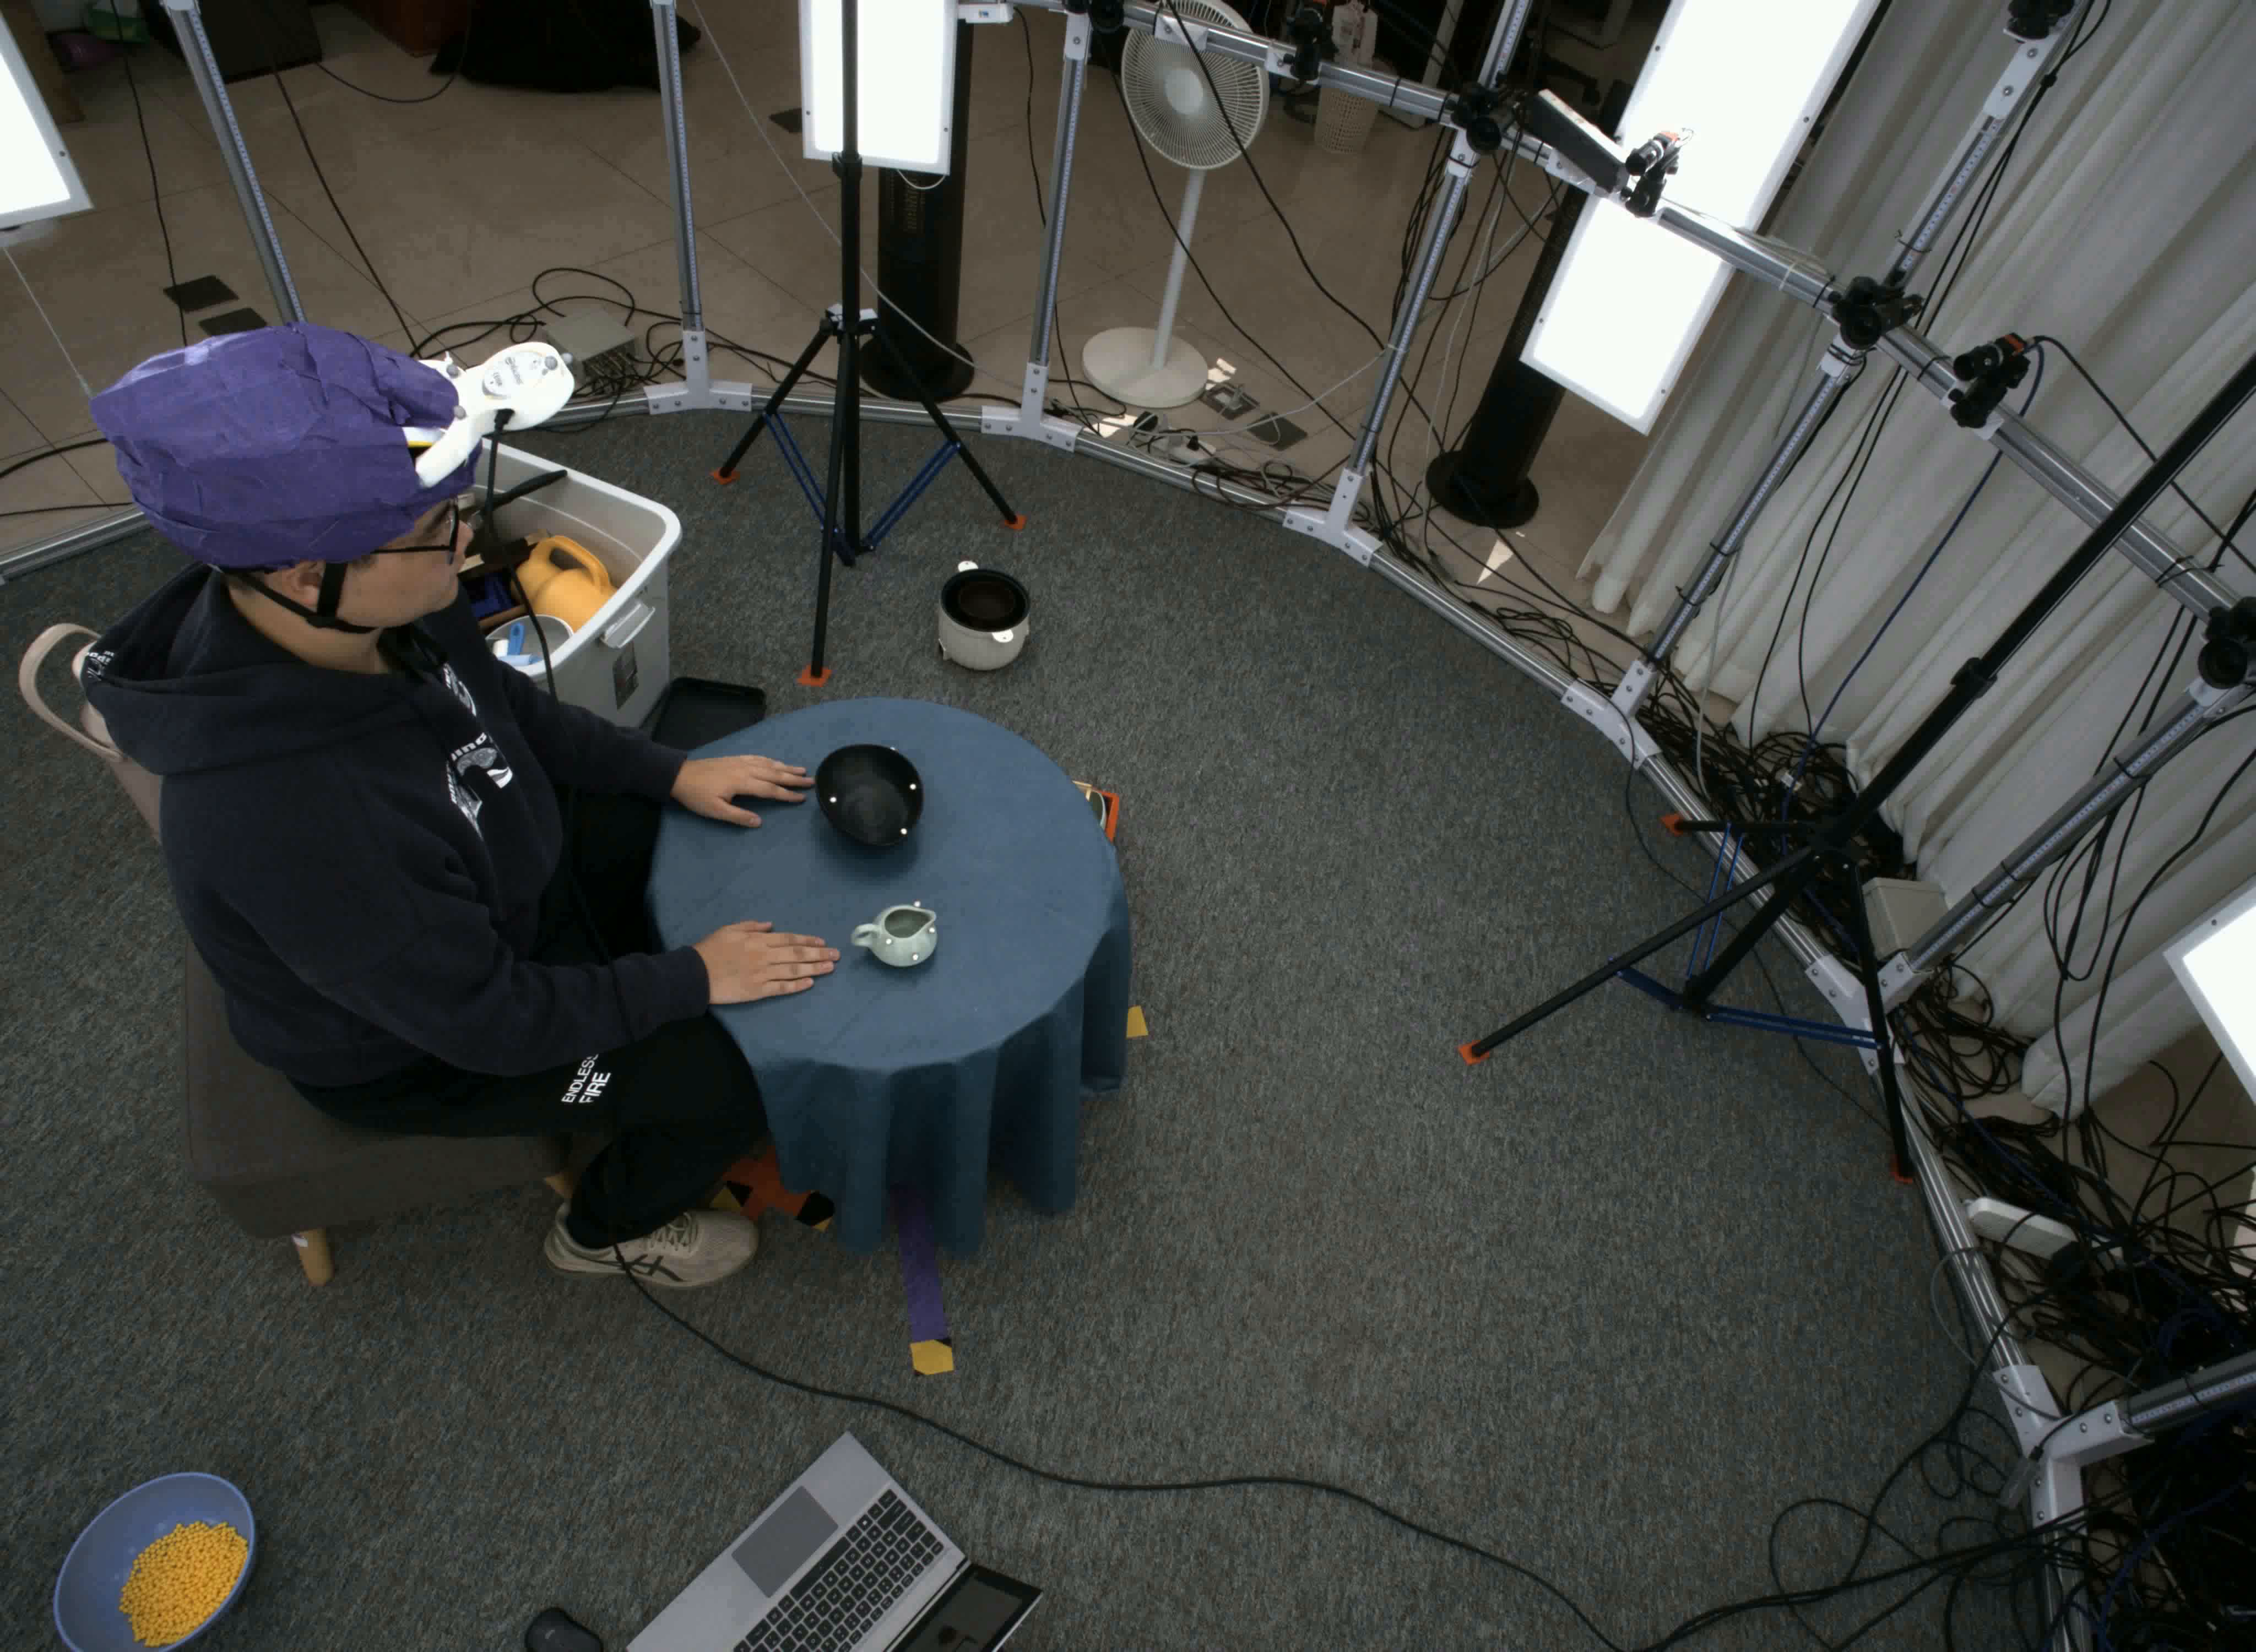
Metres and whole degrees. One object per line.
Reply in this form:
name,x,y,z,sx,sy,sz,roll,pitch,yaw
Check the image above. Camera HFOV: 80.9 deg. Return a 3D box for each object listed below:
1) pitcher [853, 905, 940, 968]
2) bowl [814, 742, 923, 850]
pitcher,-0.288,0.135,1.618,0.108,0.062,0.084,-14,56,-19
bowl,-0.342,-0.032,1.724,0.138,0.068,0.166,-19,61,-24
